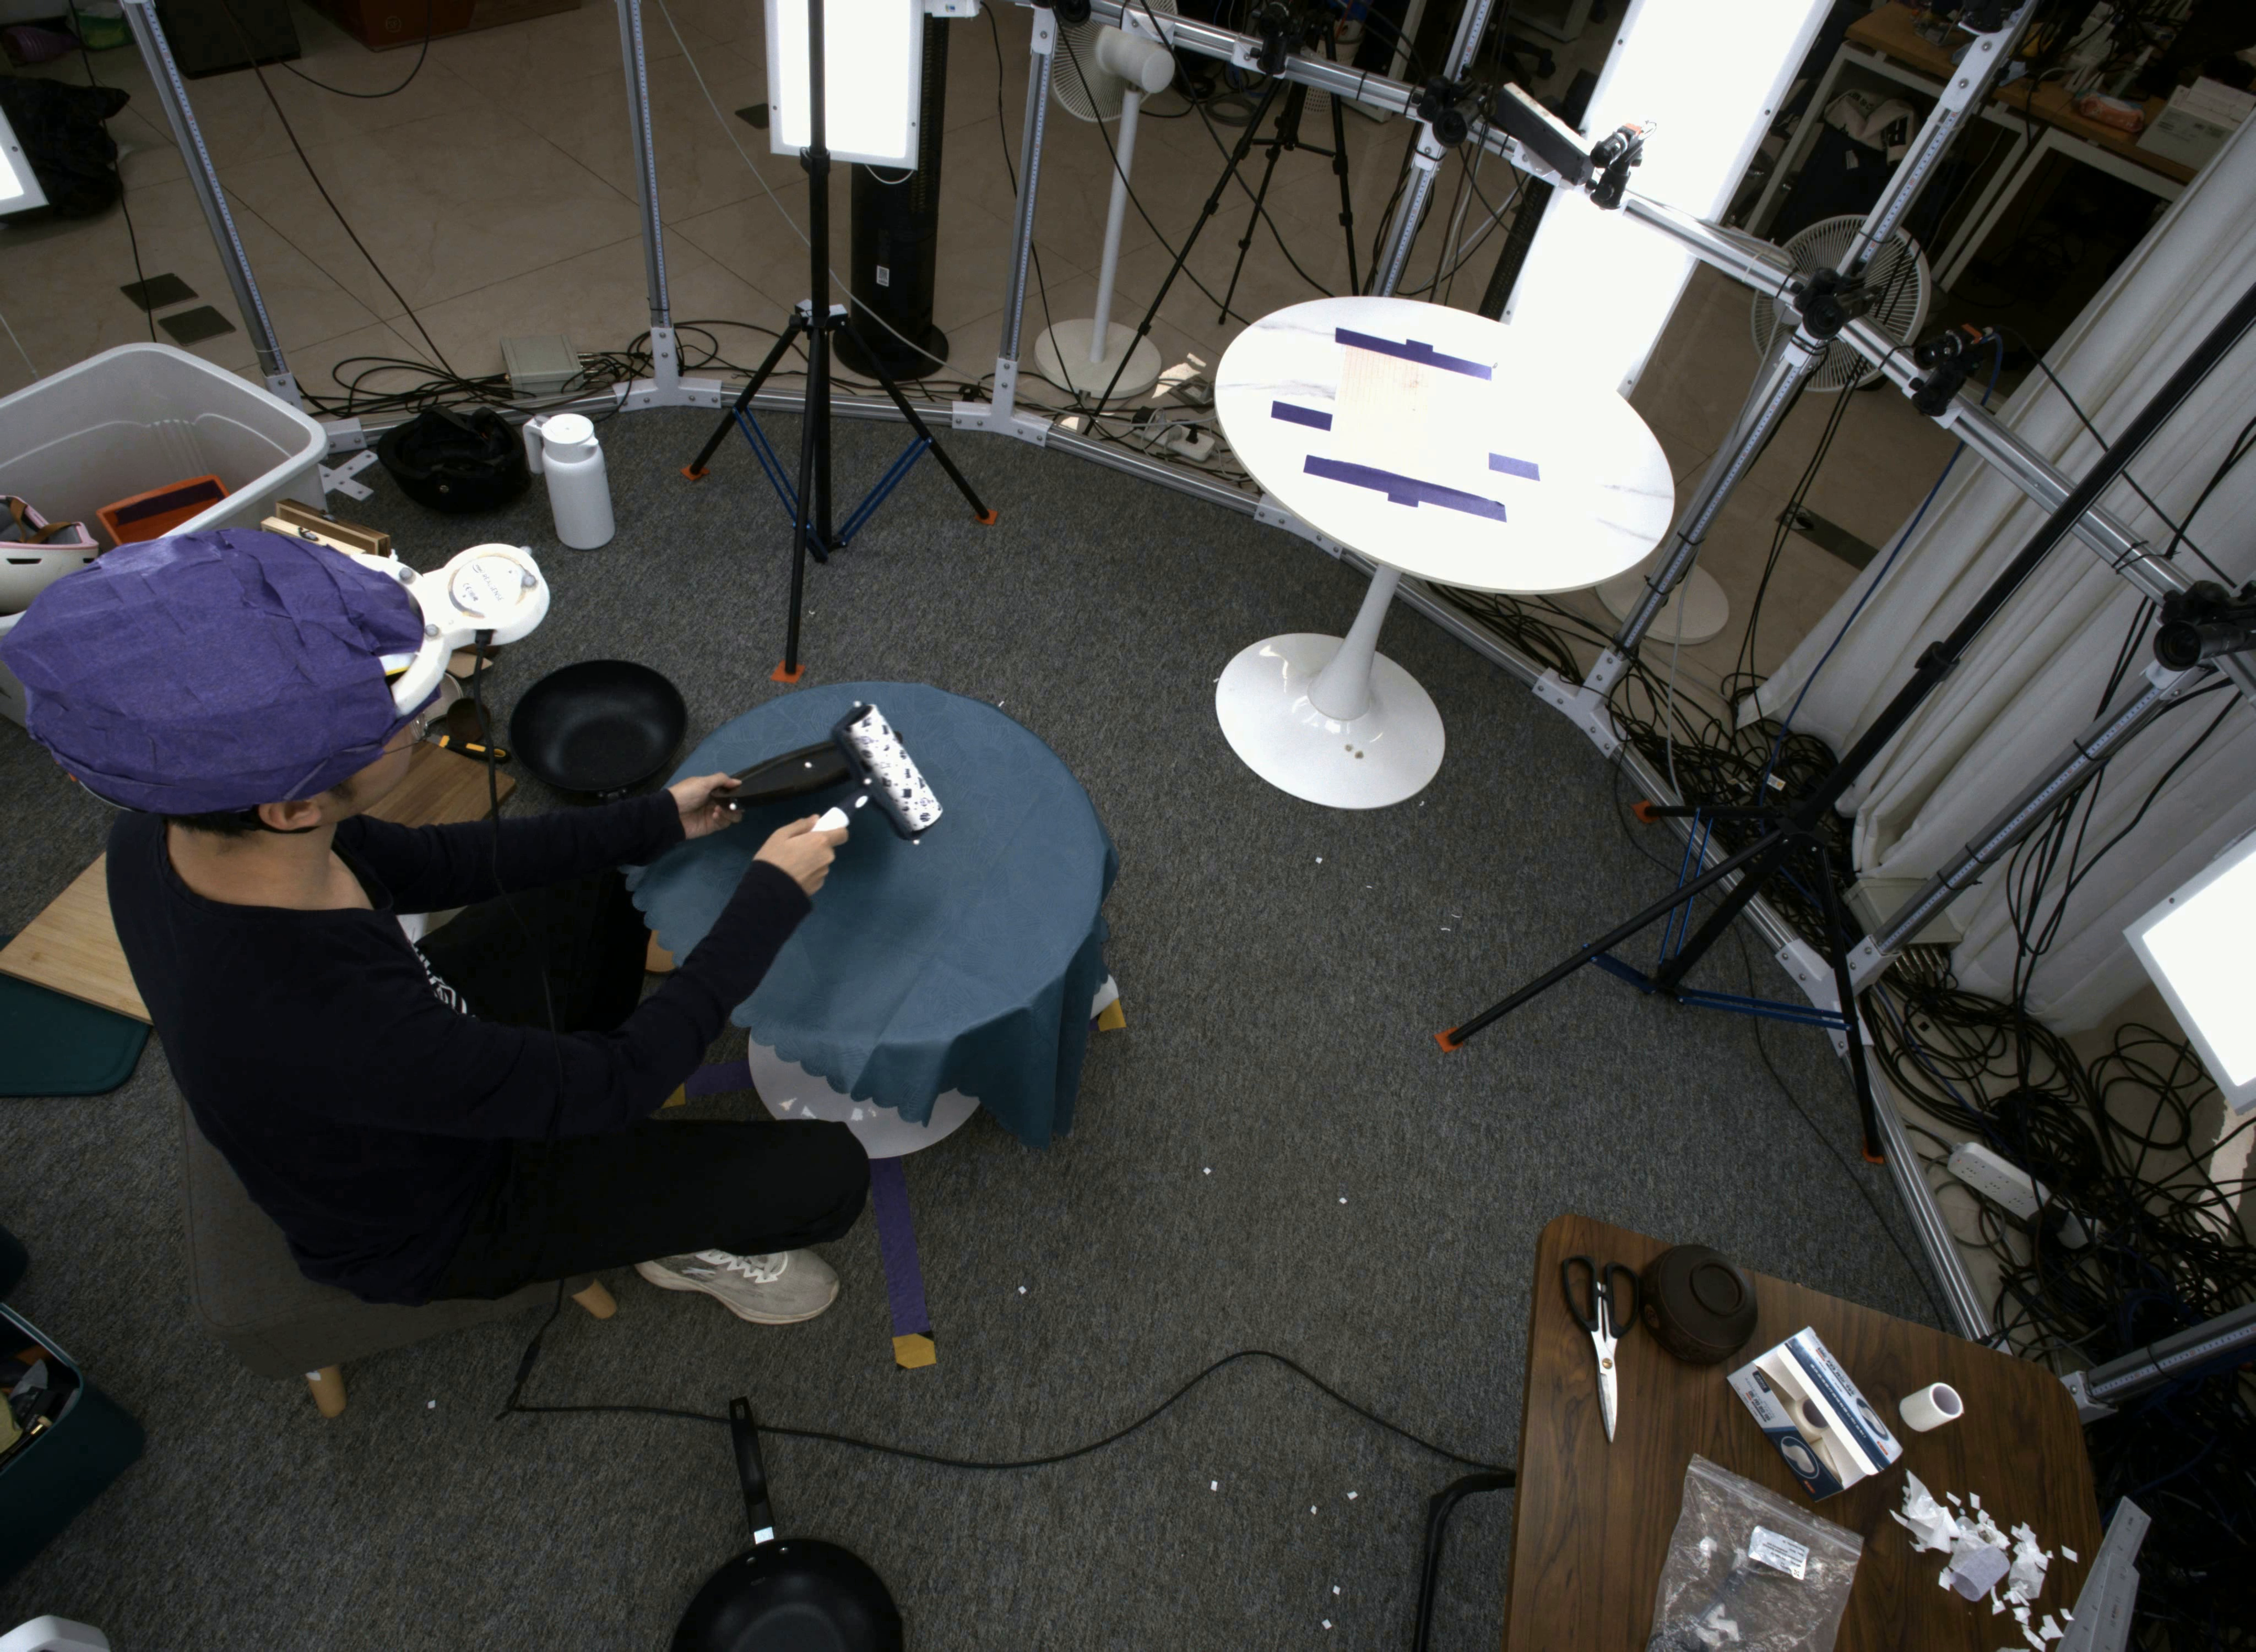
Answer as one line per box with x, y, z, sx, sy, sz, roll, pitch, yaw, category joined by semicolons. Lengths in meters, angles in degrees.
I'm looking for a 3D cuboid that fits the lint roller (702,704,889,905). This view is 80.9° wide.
-0.404;0.000;1.520;0.048;0.183;0.246;4;46;44;lint roller

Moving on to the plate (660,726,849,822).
-0.474;-0.066;1.652;0.251;0.030;0.251;-17;17;7;plate
